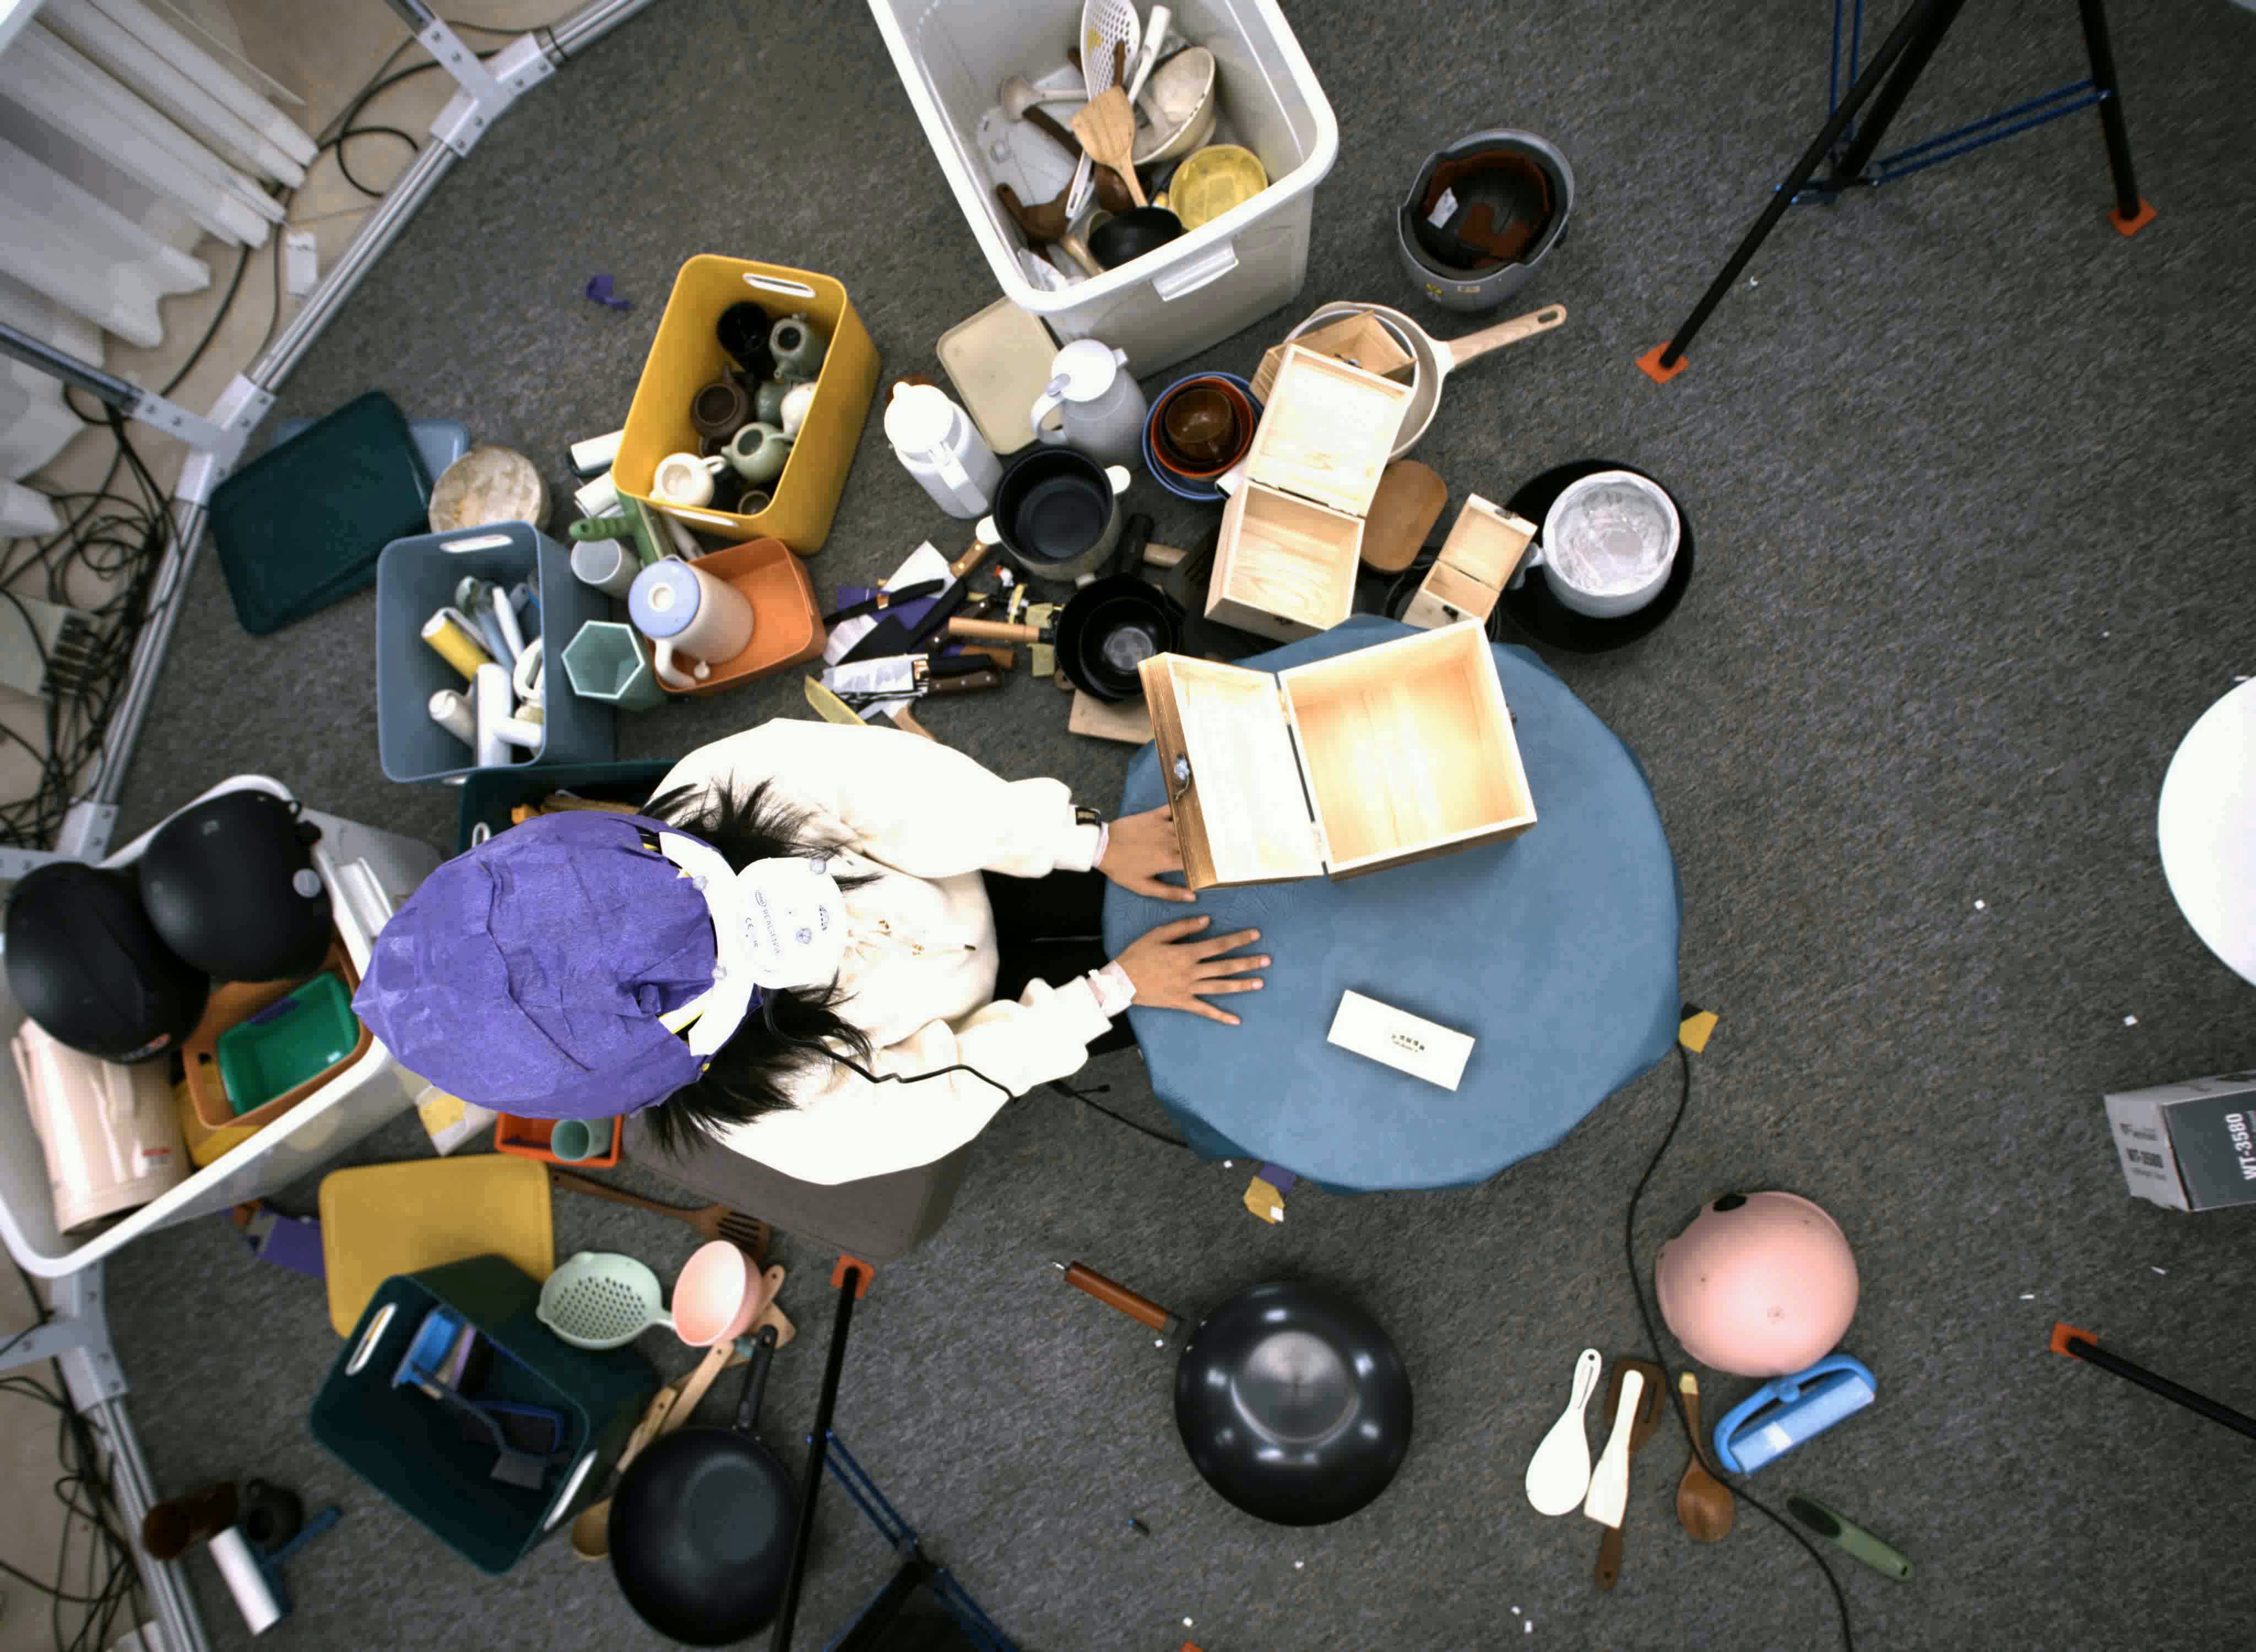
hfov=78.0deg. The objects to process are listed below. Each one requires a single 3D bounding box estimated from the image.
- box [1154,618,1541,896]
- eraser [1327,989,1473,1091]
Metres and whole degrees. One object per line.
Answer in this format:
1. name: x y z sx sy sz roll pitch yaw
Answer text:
1. box: 0.212 -0.064 1.294 0.324 0.375 0.207 -15 83 8
2. eraser: 0.282 0.219 1.435 0.139 0.029 0.057 22 92 12
